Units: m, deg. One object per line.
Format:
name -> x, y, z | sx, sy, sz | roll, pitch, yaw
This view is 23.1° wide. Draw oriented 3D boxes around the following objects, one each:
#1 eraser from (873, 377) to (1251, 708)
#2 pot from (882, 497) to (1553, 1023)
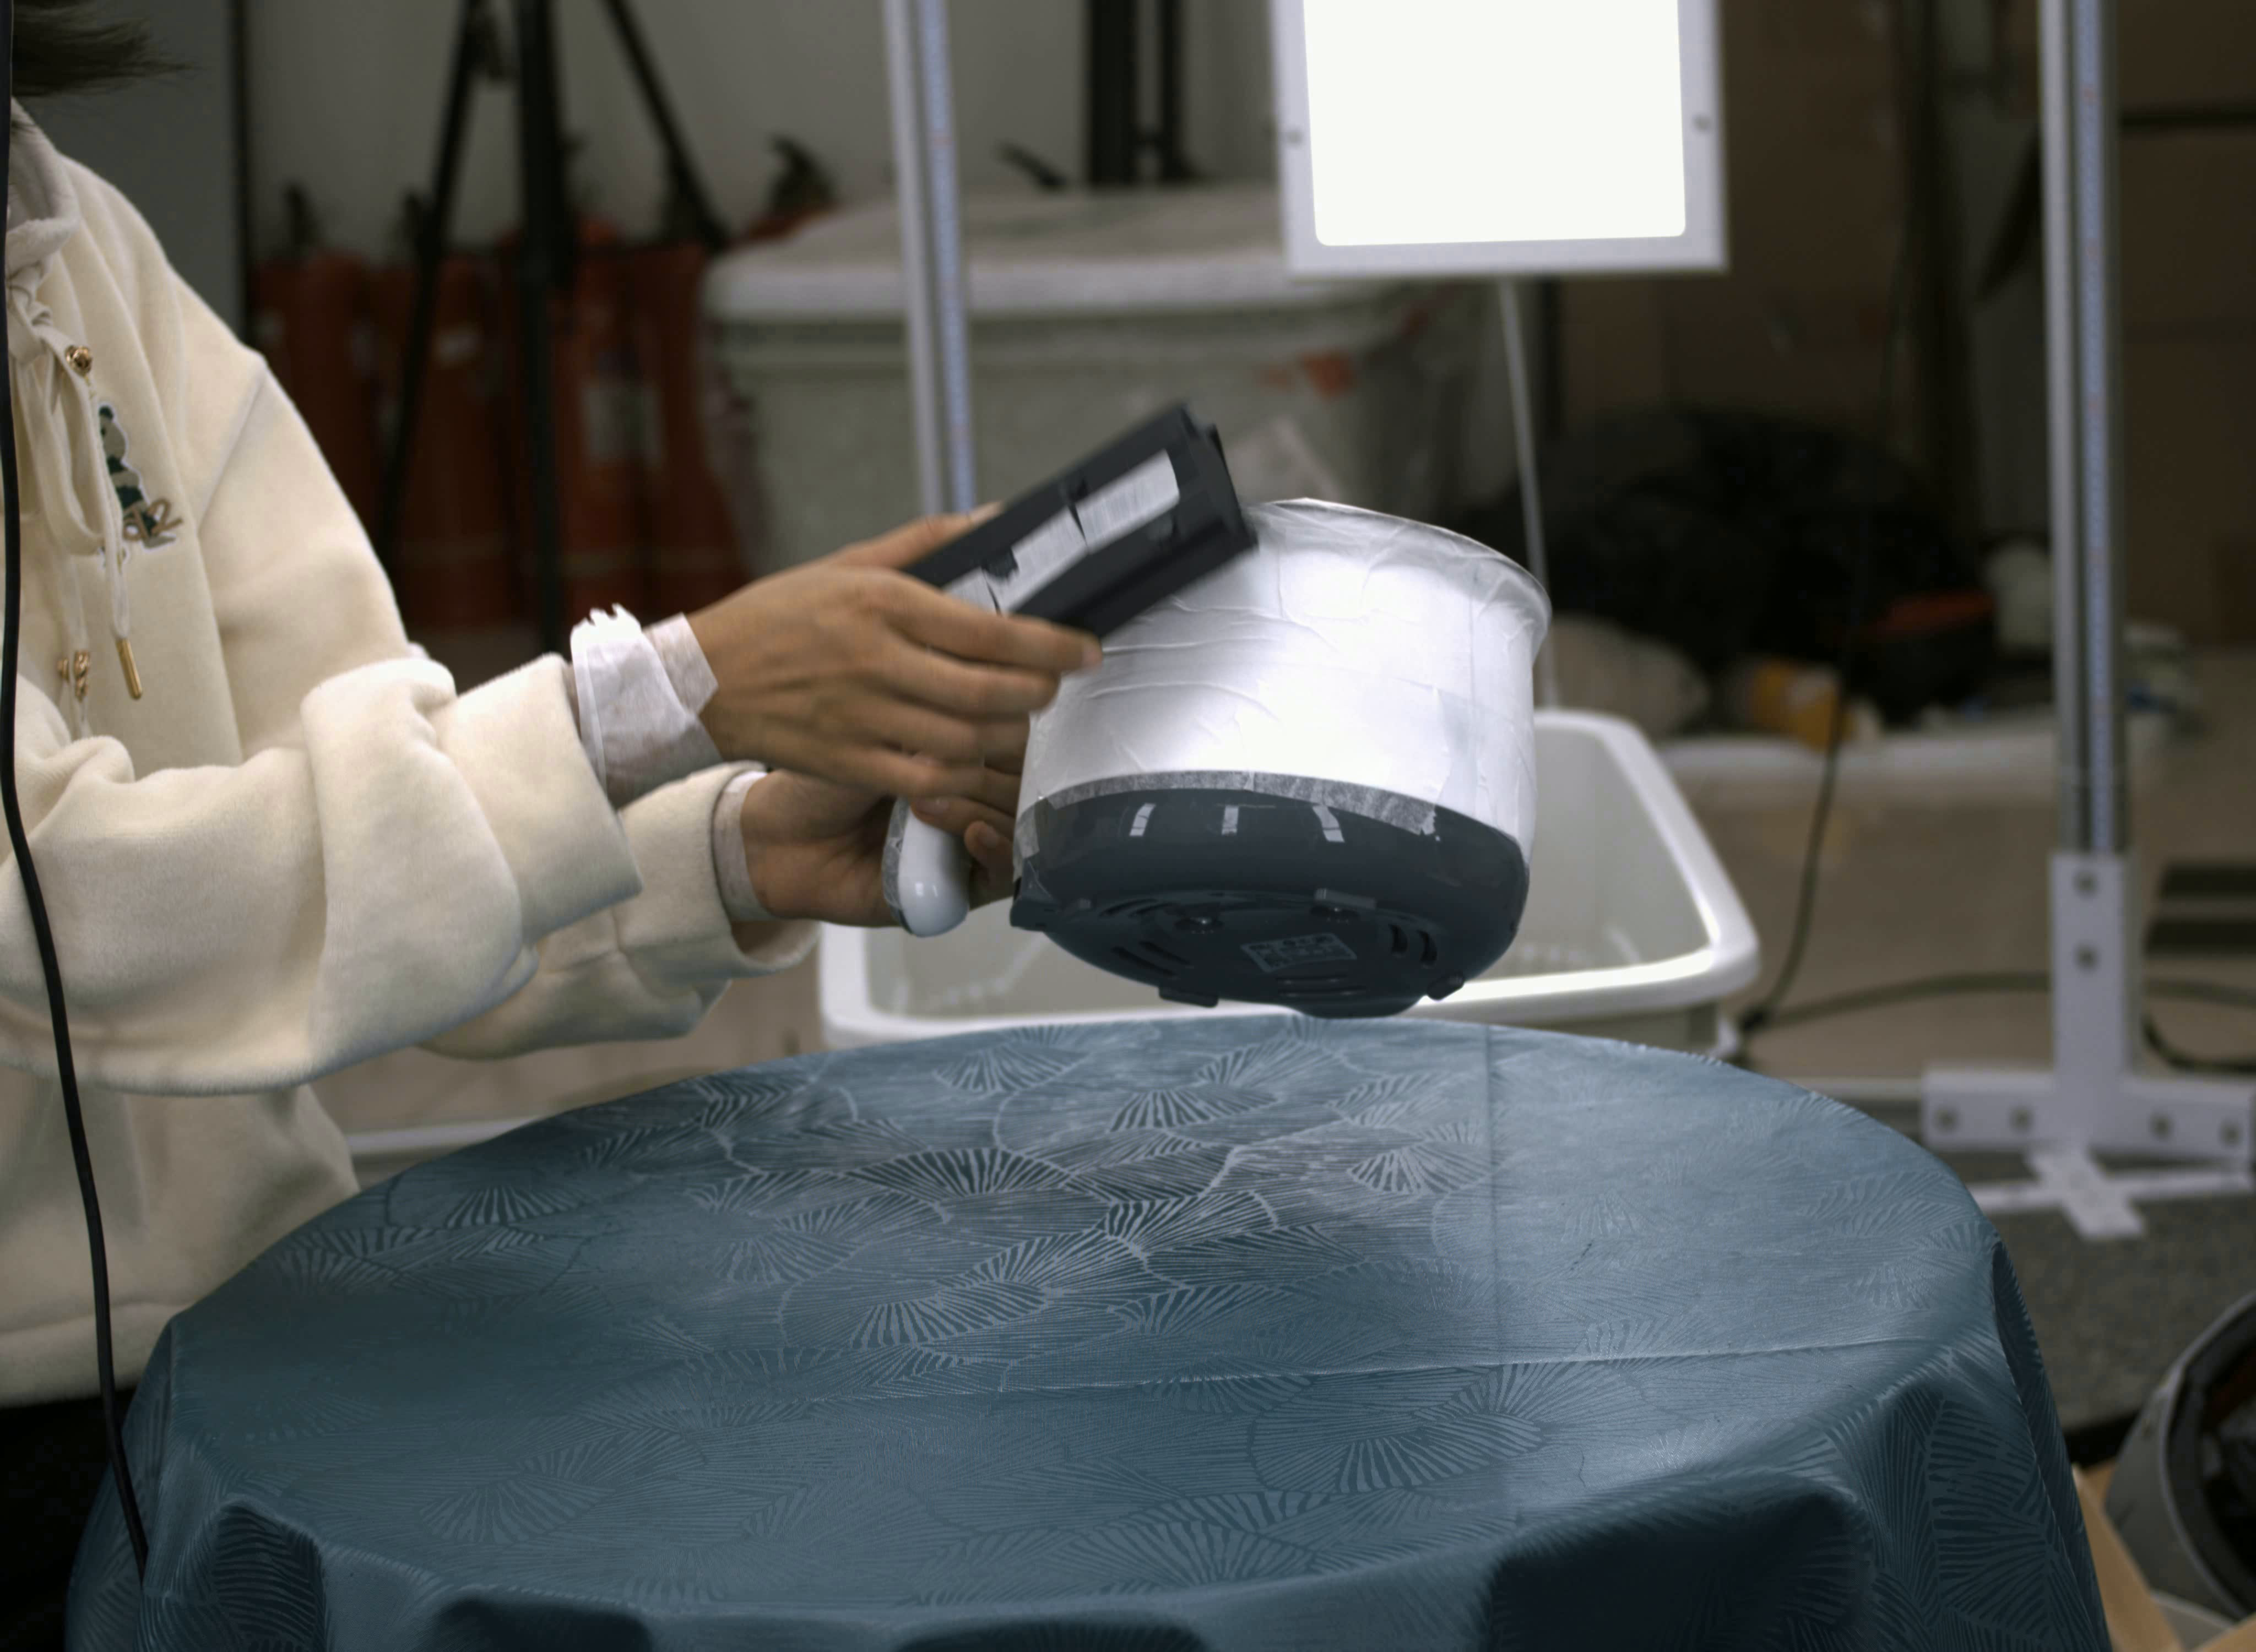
eraser -> -0.022, -0.093, 1.802 | 0.127, 0.054, 0.030 | -32, -28, 19
pot -> 0.027, -0.019, 1.891 | 0.237, 0.136, 0.176 | -2, -20, 24
